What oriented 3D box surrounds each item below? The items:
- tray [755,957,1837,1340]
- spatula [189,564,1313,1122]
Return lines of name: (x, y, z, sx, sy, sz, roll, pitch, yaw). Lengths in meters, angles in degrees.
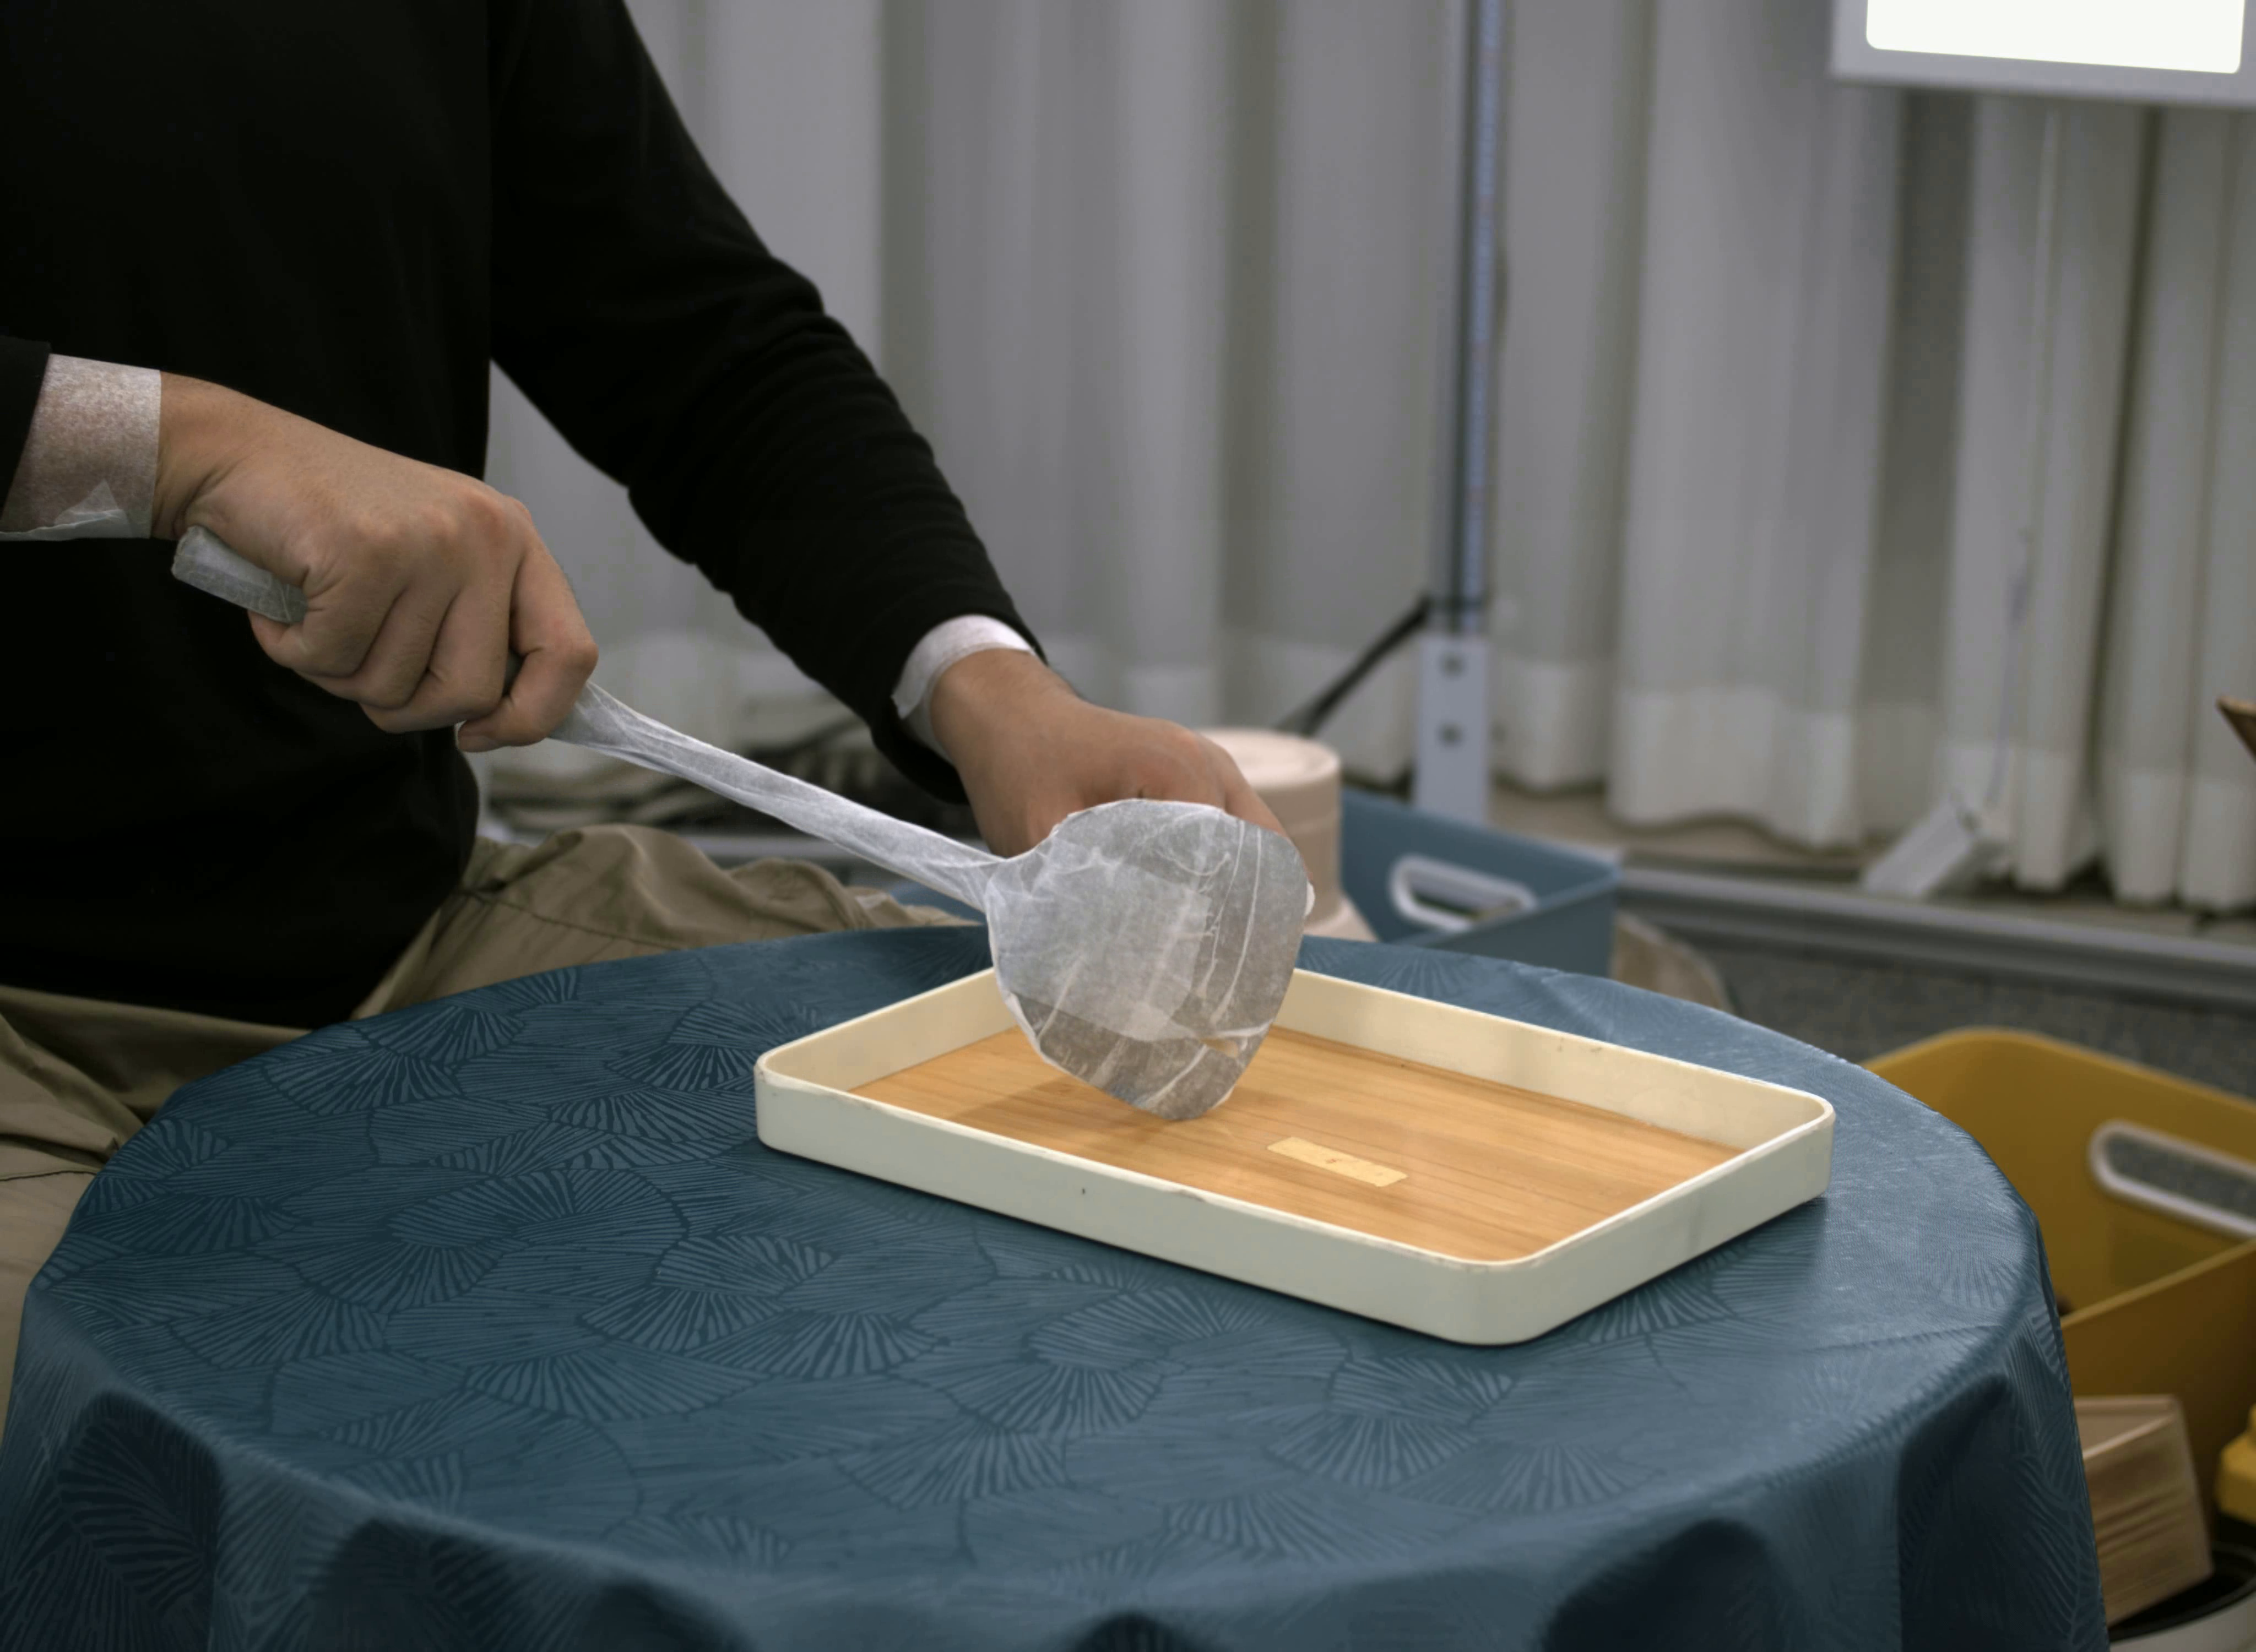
tray: (0.050, 0.092, 1.640, 0.296, 0.027, 0.192, 13, 20, 37)
spatula: (-0.114, -0.010, 1.625, 0.365, 0.099, 0.044, 23, 1, -8)
